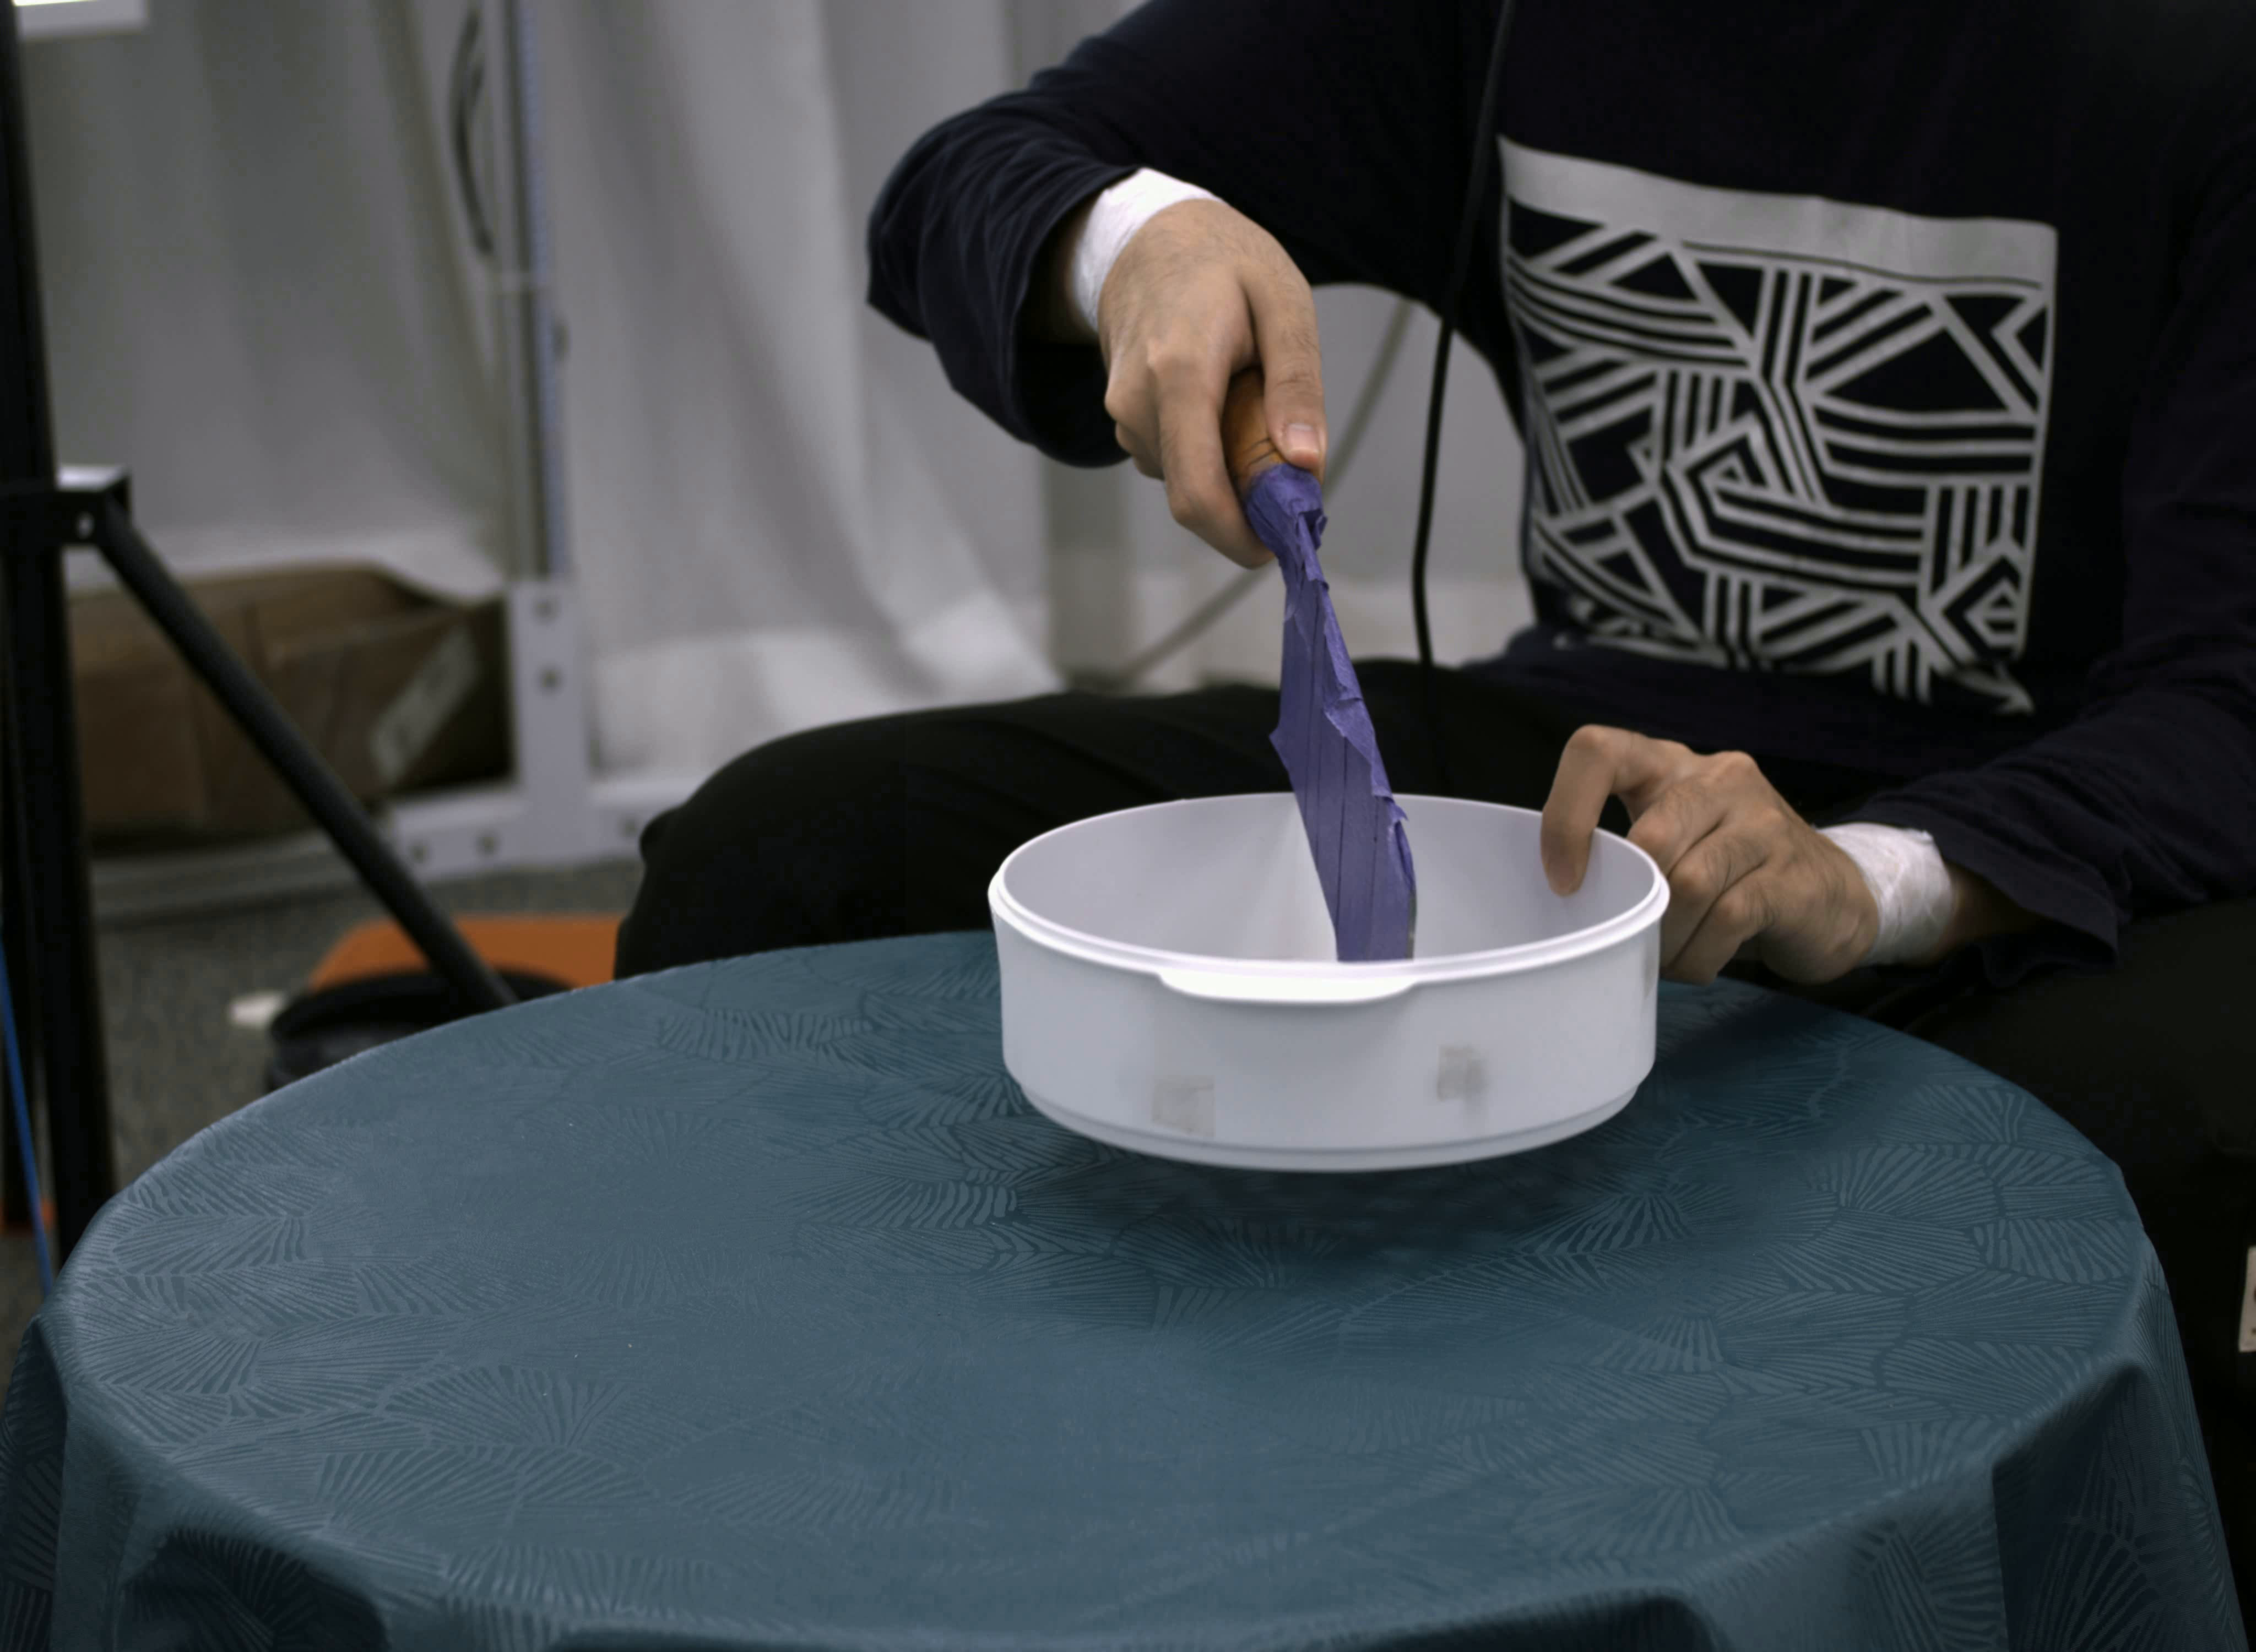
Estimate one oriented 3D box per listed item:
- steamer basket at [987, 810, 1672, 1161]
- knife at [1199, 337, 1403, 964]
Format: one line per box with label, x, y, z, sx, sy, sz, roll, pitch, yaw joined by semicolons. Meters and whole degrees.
steamer basket;0.059;0.047;1.566;0.202;0.069;0.229;3;11;9
knife;0.052;-0.037;1.612;0.032;0.103;0.319;0;33;-6
